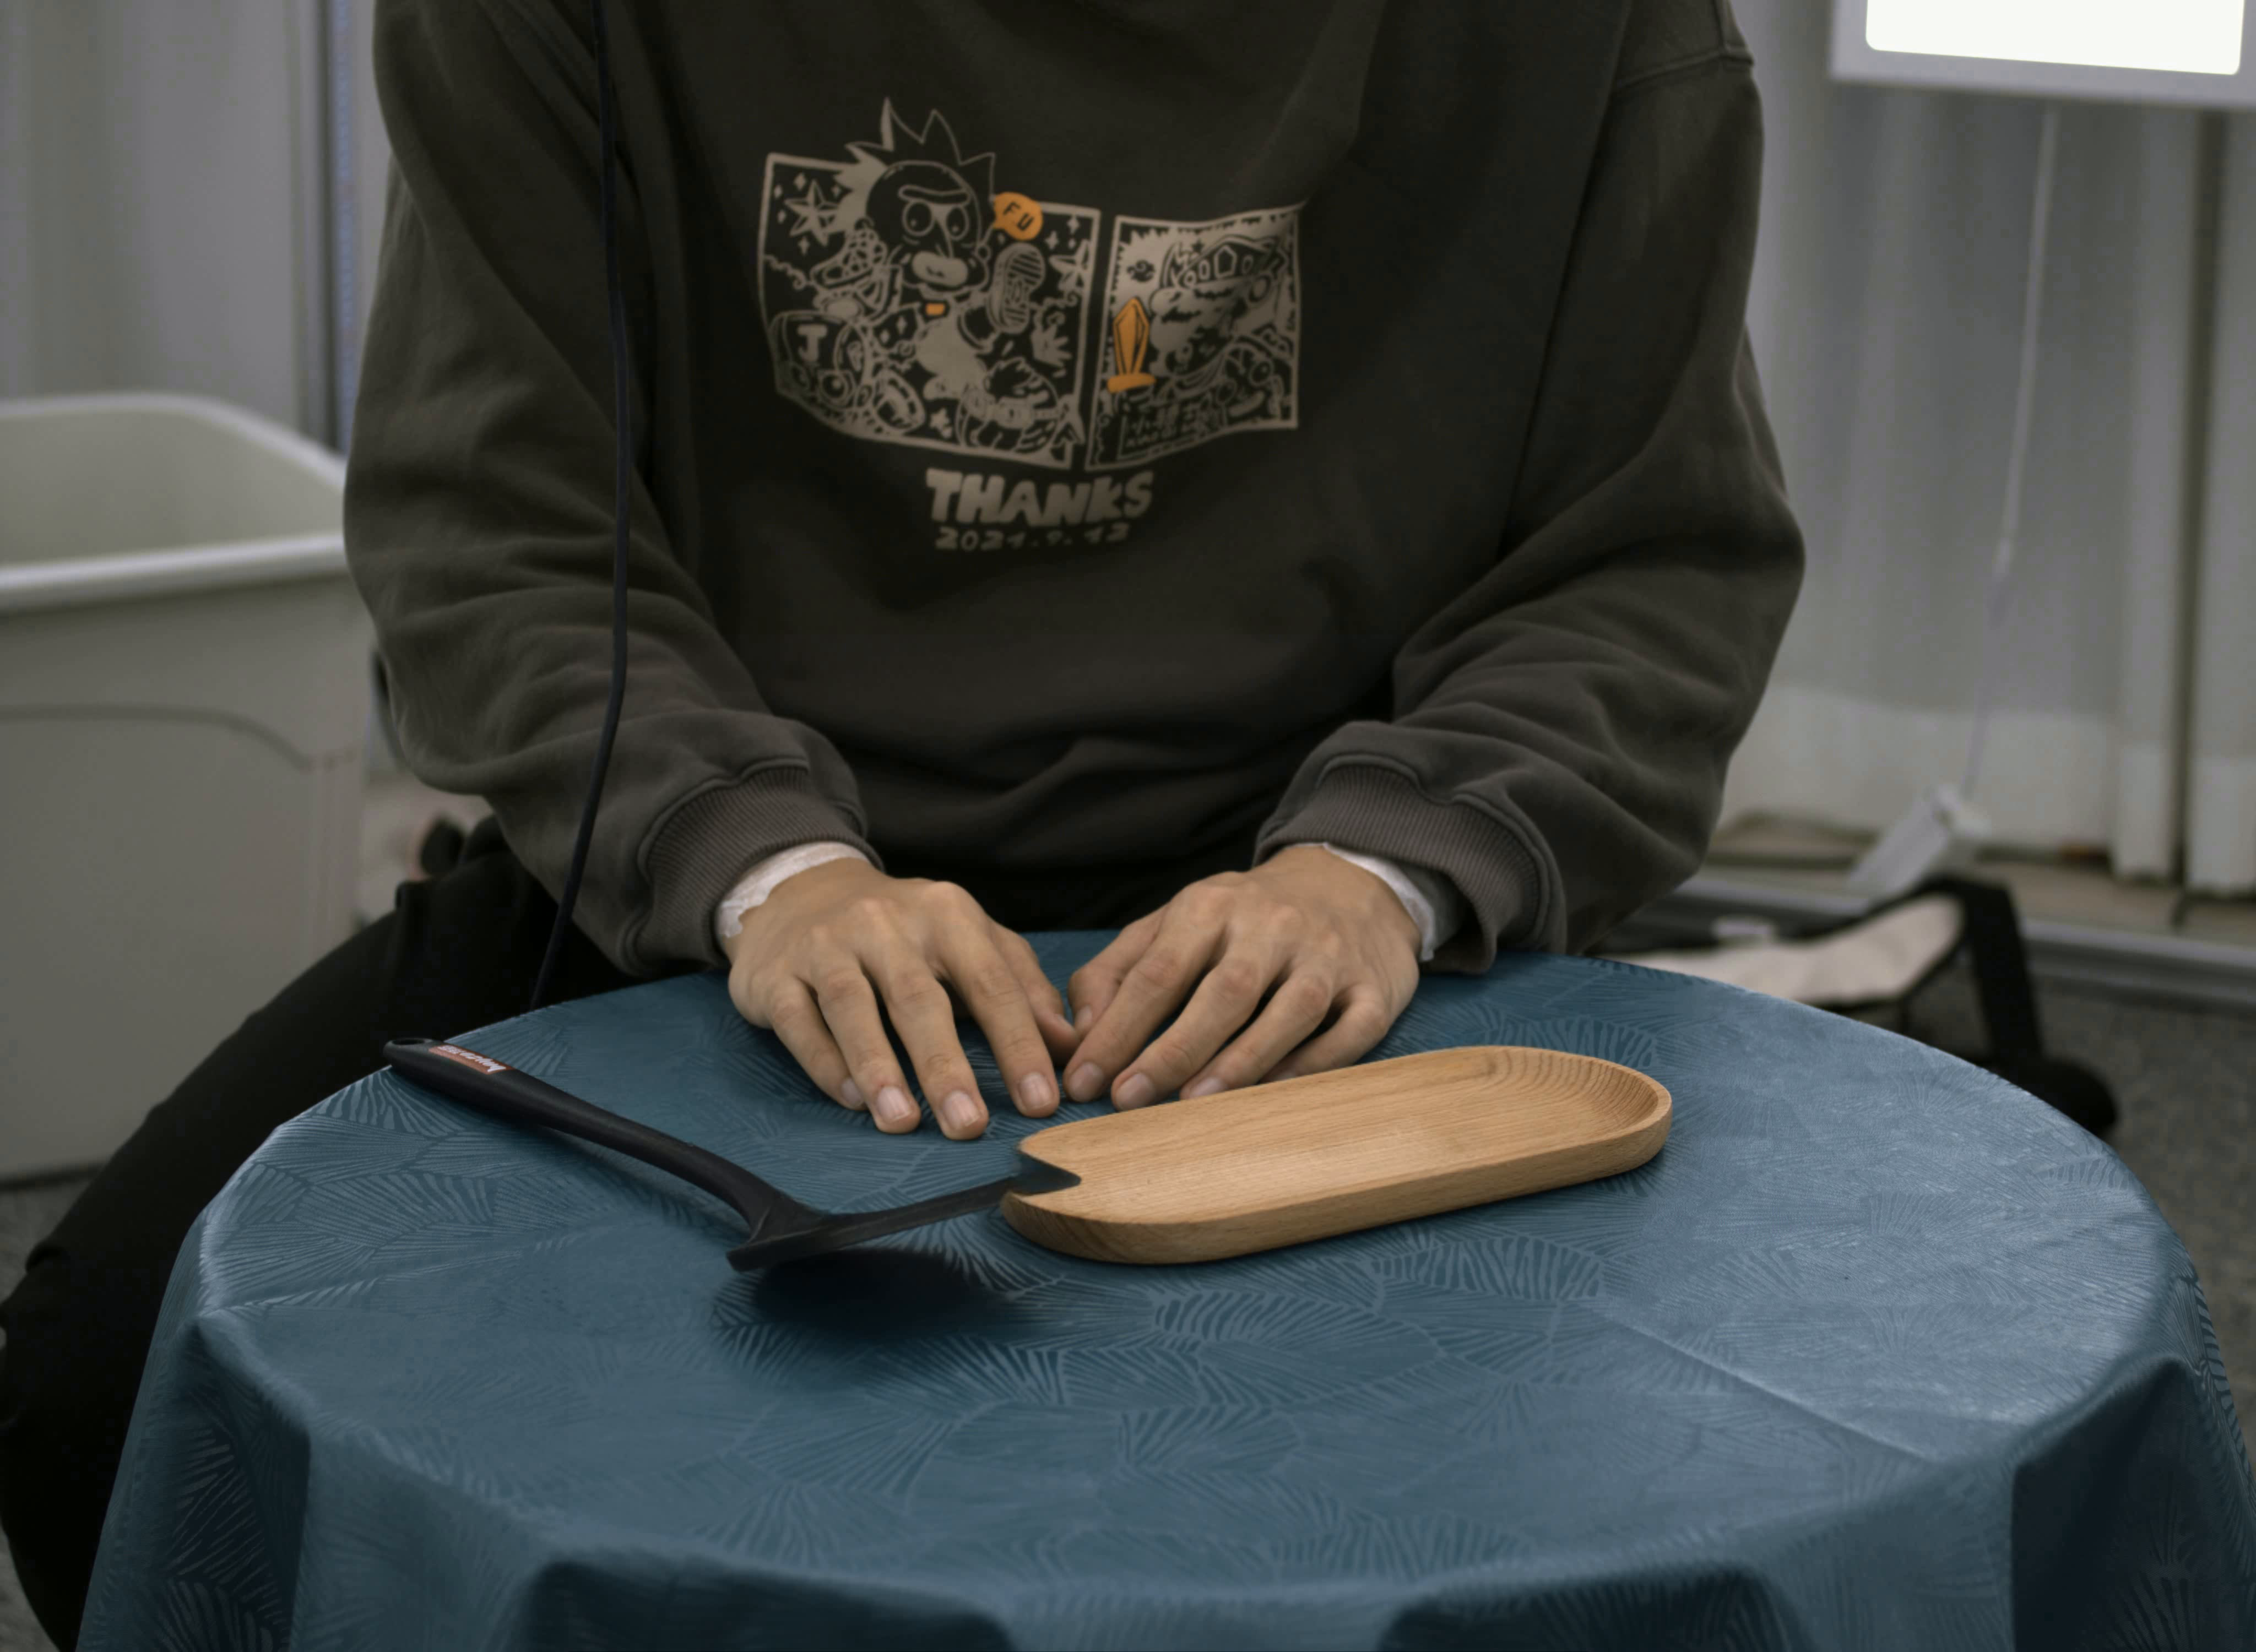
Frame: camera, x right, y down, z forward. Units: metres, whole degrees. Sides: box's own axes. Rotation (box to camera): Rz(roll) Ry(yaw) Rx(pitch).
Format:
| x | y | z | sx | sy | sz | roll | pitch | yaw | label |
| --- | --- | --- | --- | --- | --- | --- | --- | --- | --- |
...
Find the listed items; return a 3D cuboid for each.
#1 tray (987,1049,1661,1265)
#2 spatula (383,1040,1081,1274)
| x | y | z | sx | sy | sz | roll | pitch | yaw | label |
| --- | --- | --- | --- | --- | --- | --- | --- | --- | --- |
| 0.063 | 0.102 | 1.639 | 0.232 | 0.020 | 0.100 | -10 | 18 | -31 | tray |
| -0.145 | 0.094 | 1.623 | 0.100 | 0.040 | 0.322 | -10 | 19 | -37 | spatula |
